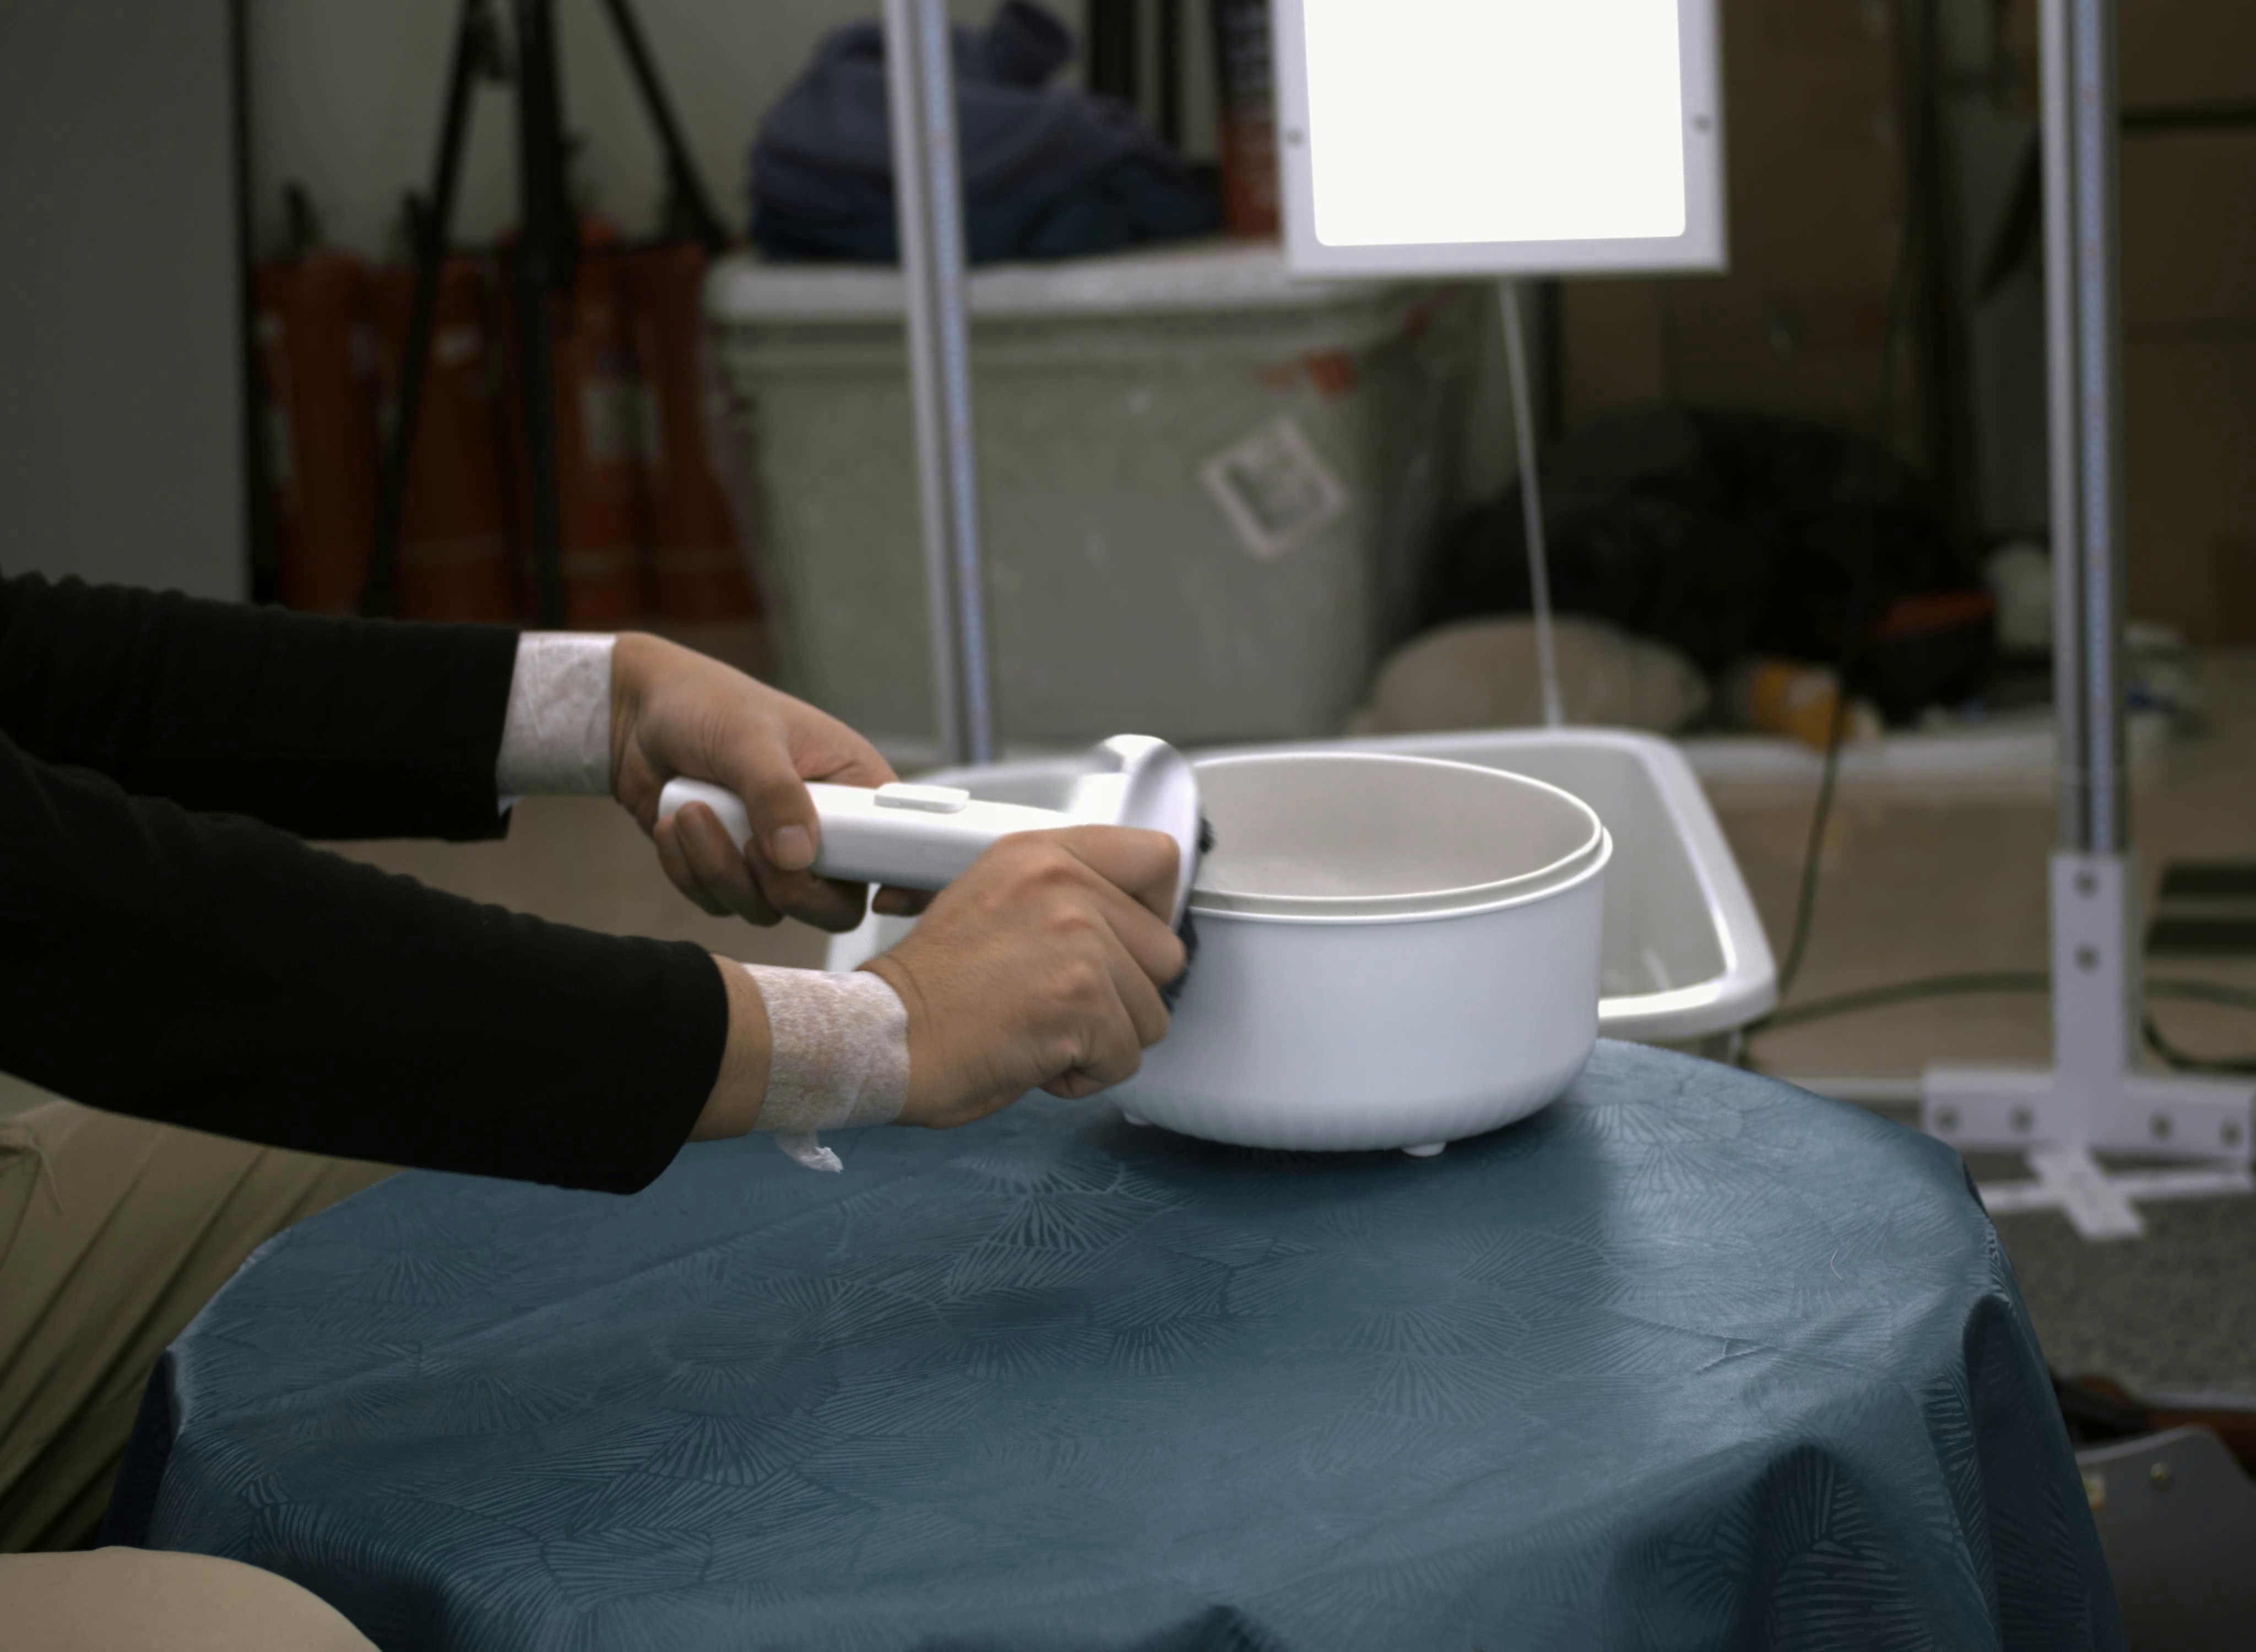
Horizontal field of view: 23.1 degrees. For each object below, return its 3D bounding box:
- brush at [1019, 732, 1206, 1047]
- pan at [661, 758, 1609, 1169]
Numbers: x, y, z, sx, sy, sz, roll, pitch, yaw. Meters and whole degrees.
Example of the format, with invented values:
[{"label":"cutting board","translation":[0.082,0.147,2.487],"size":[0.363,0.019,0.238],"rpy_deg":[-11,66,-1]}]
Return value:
[{"label":"brush","translation":[-0.009,0.014,1.855],"size":[0.051,0.098,0.072],"rpy_deg":[7,-26,18]},{"label":"pan","translation":[-0.001,0.045,1.993],"size":[0.359,0.102,0.197],"rpy_deg":[5,18,21]}]
